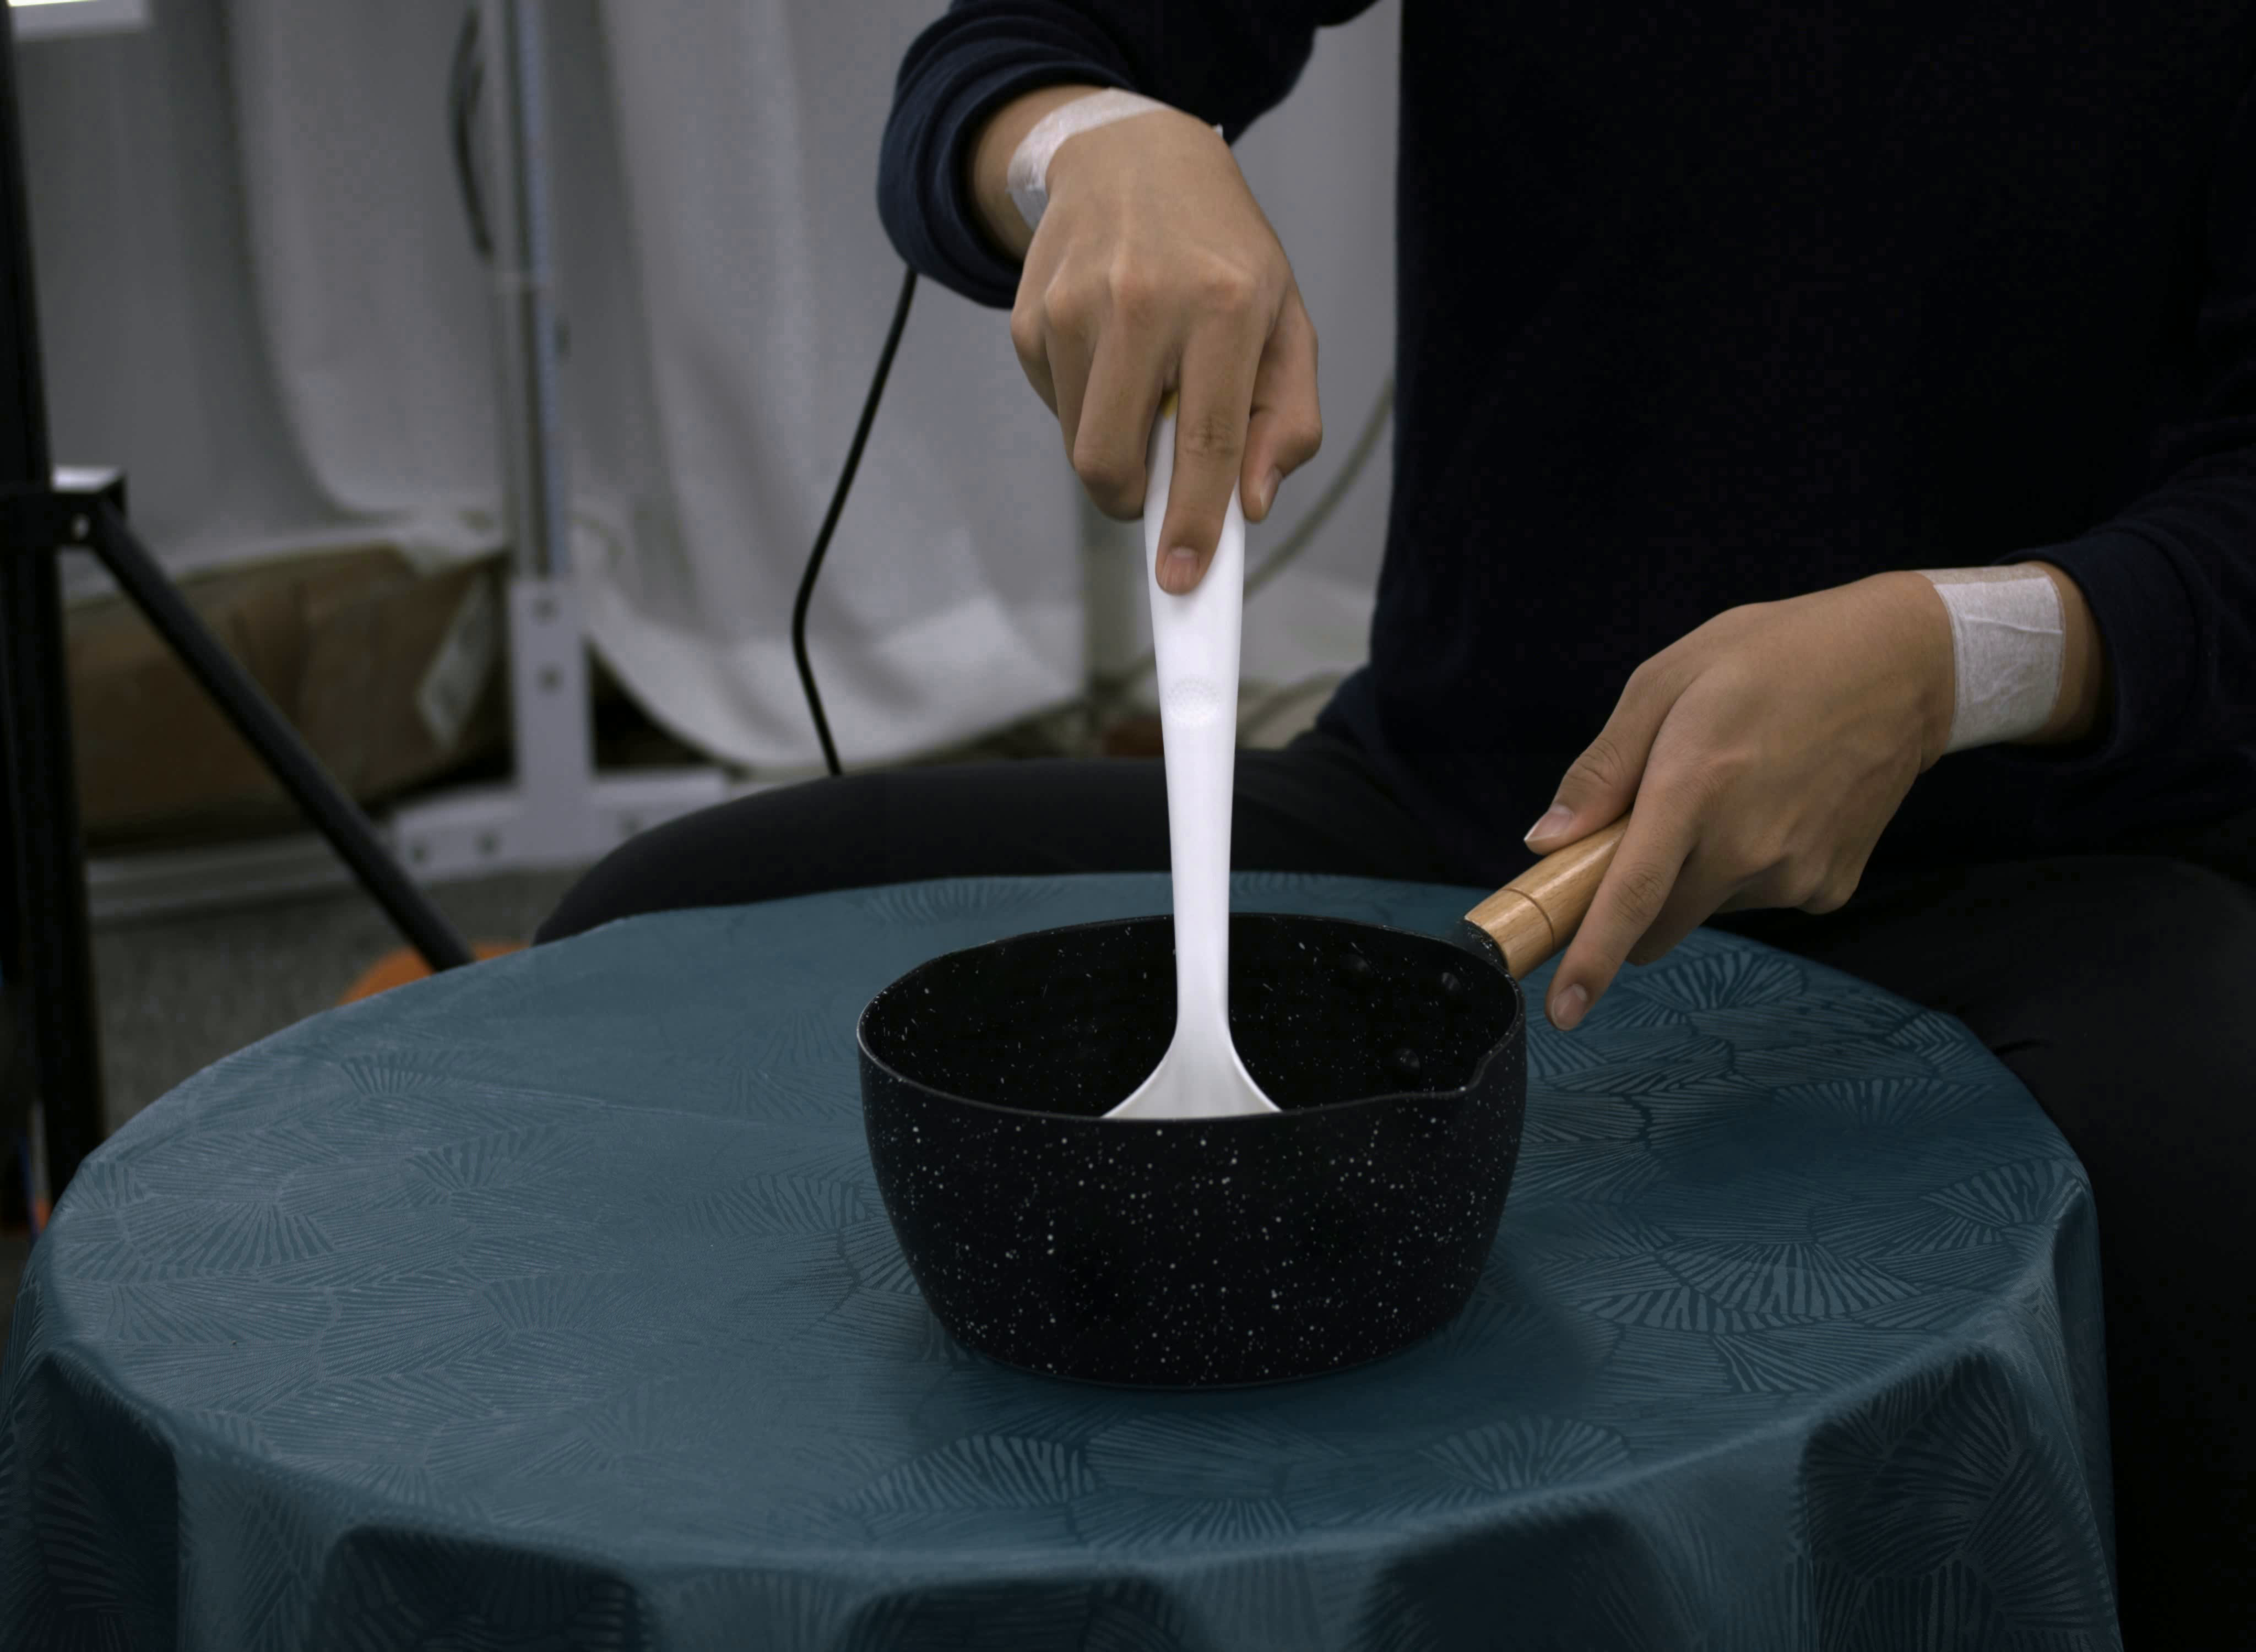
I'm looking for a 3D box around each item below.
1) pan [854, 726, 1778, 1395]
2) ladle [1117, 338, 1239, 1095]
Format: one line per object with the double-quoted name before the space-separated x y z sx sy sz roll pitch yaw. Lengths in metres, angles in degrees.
"pan" 0.072 0.062 1.512 0.212 0.108 0.335 11 22 43
"ladle" 0.007 -0.006 1.507 0.091 0.295 0.068 -8 -21 25
